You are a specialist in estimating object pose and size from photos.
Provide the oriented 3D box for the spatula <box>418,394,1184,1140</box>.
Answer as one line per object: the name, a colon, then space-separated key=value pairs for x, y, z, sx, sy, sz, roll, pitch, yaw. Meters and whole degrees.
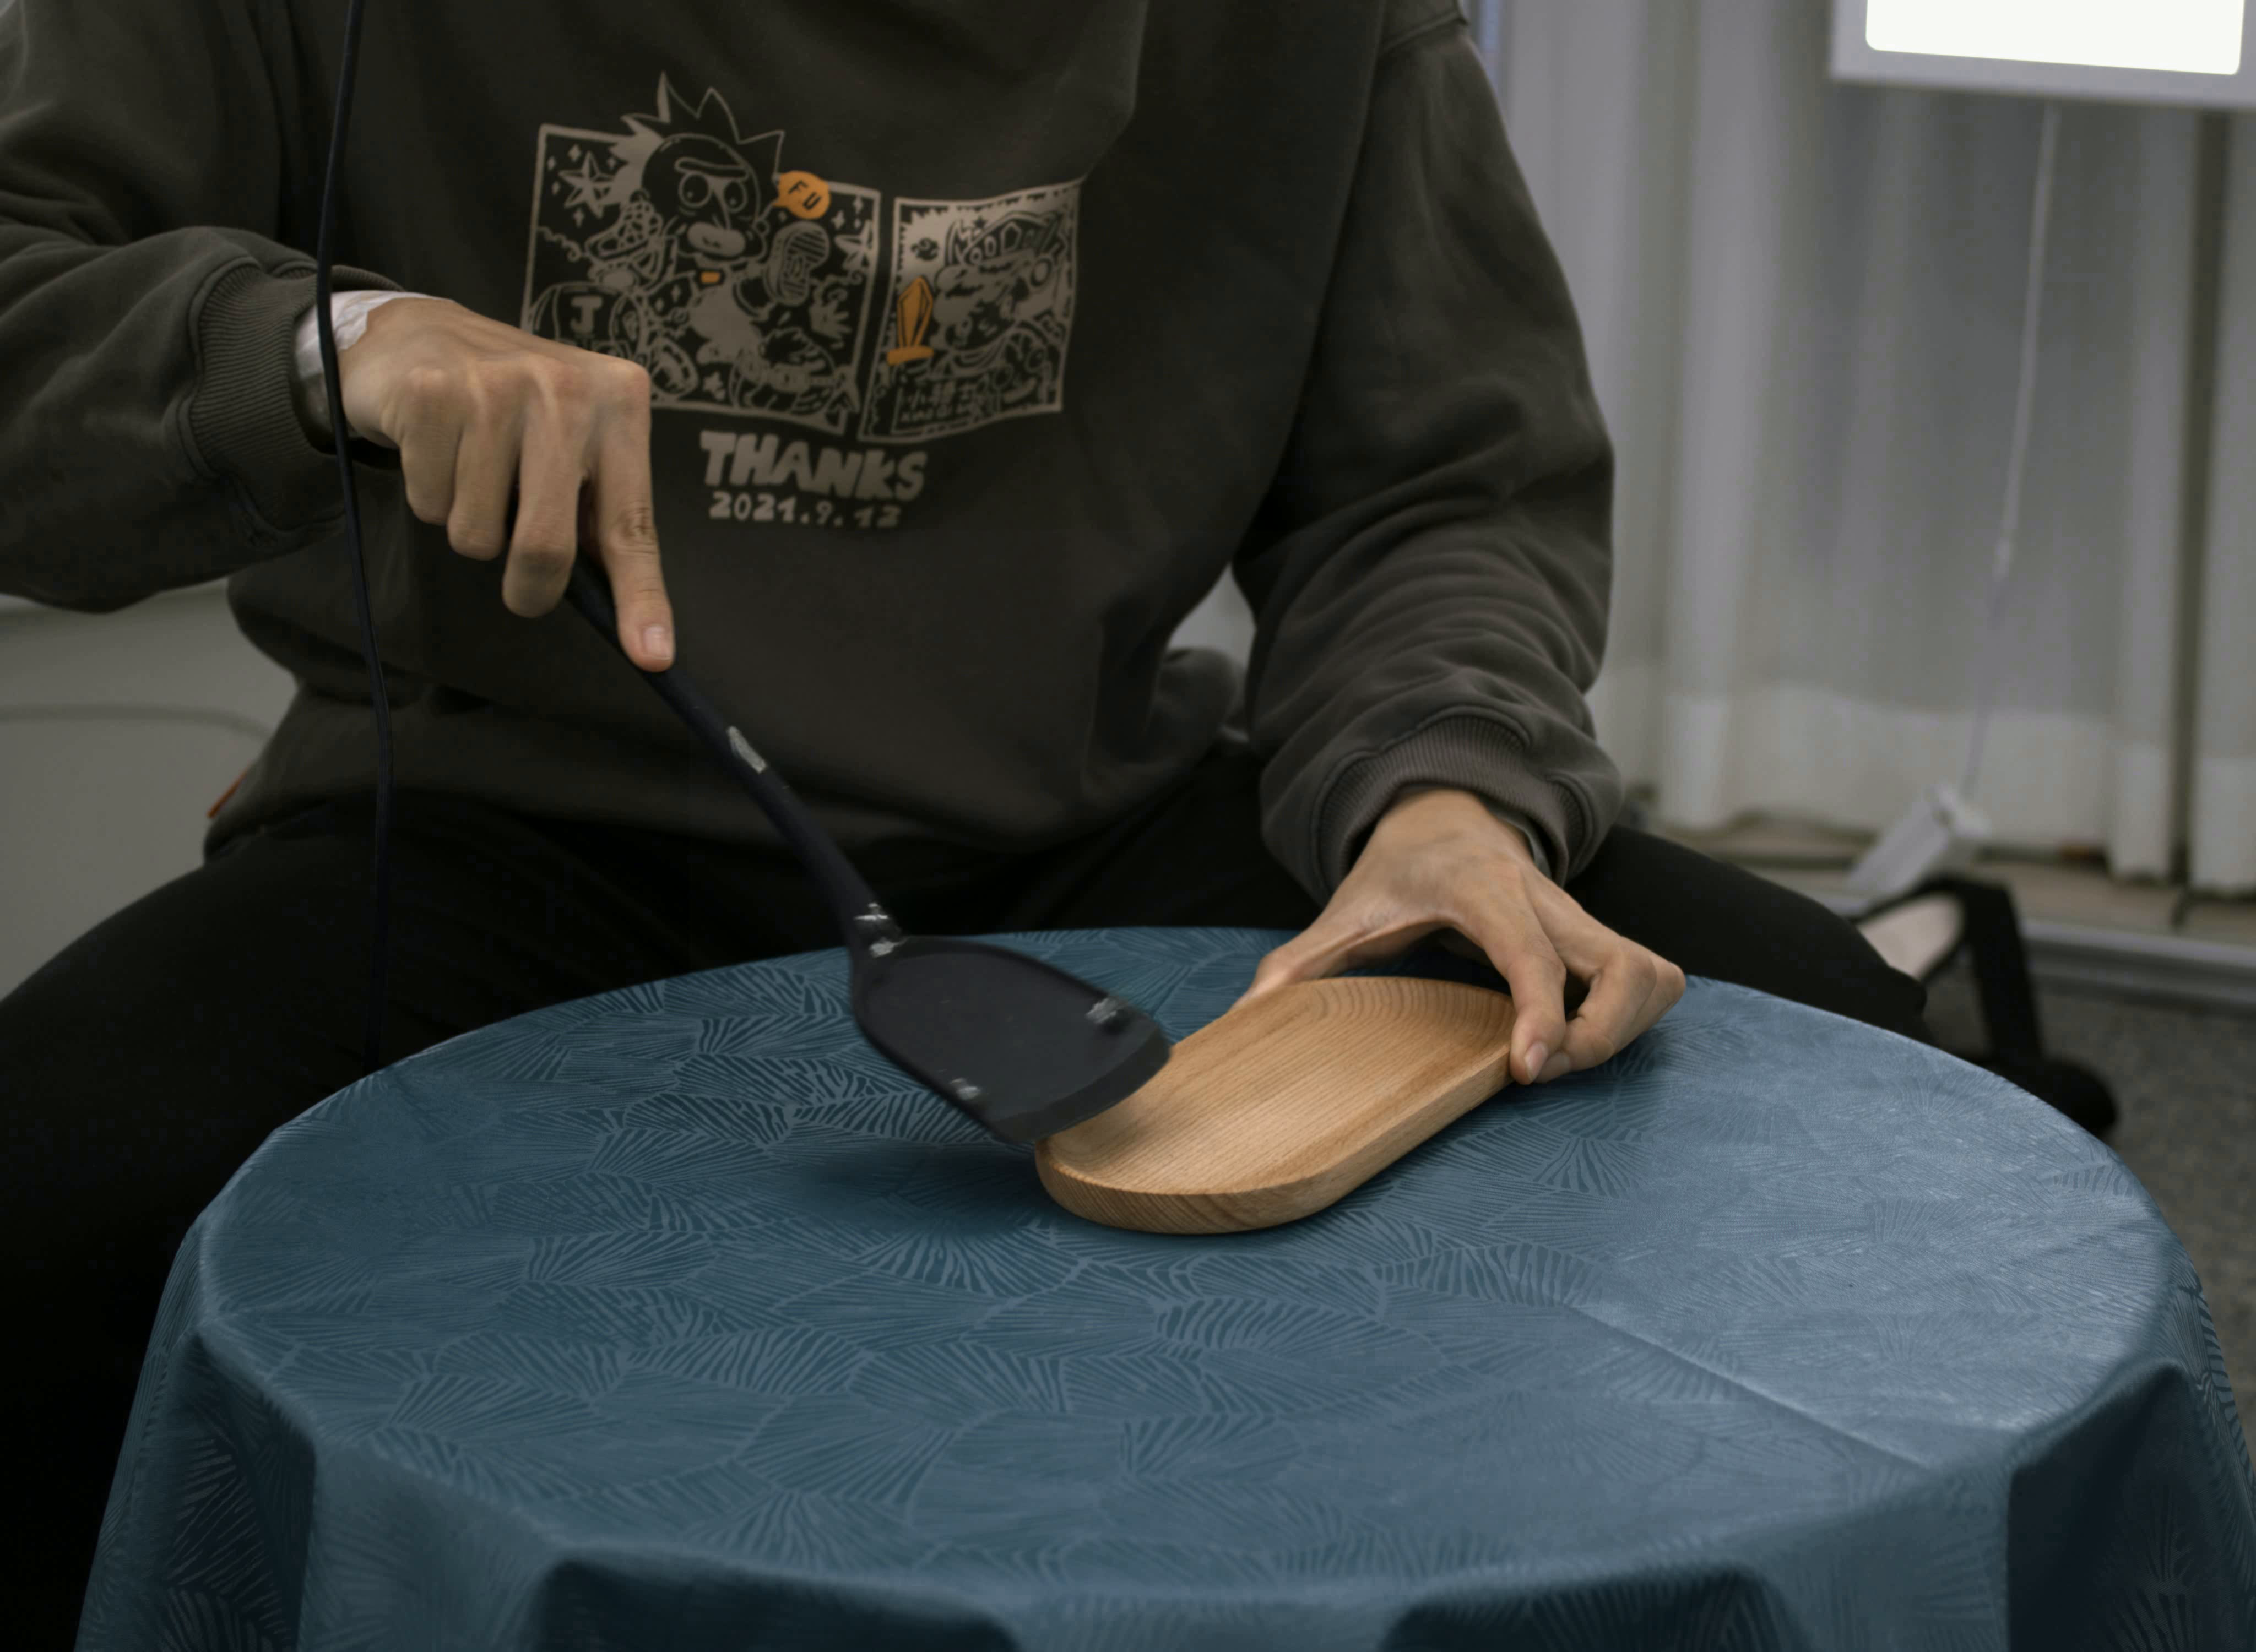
spatula: x=-0.115 y=-0.025 z=1.662 sx=0.325 sy=0.040 sz=0.100 roll=50 pitch=35 yaw=8

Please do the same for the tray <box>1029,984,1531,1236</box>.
tray: x=0.051 y=0.089 z=1.685 sx=0.100 sy=0.020 sz=0.232 roll=7 pitch=18 yaw=27
